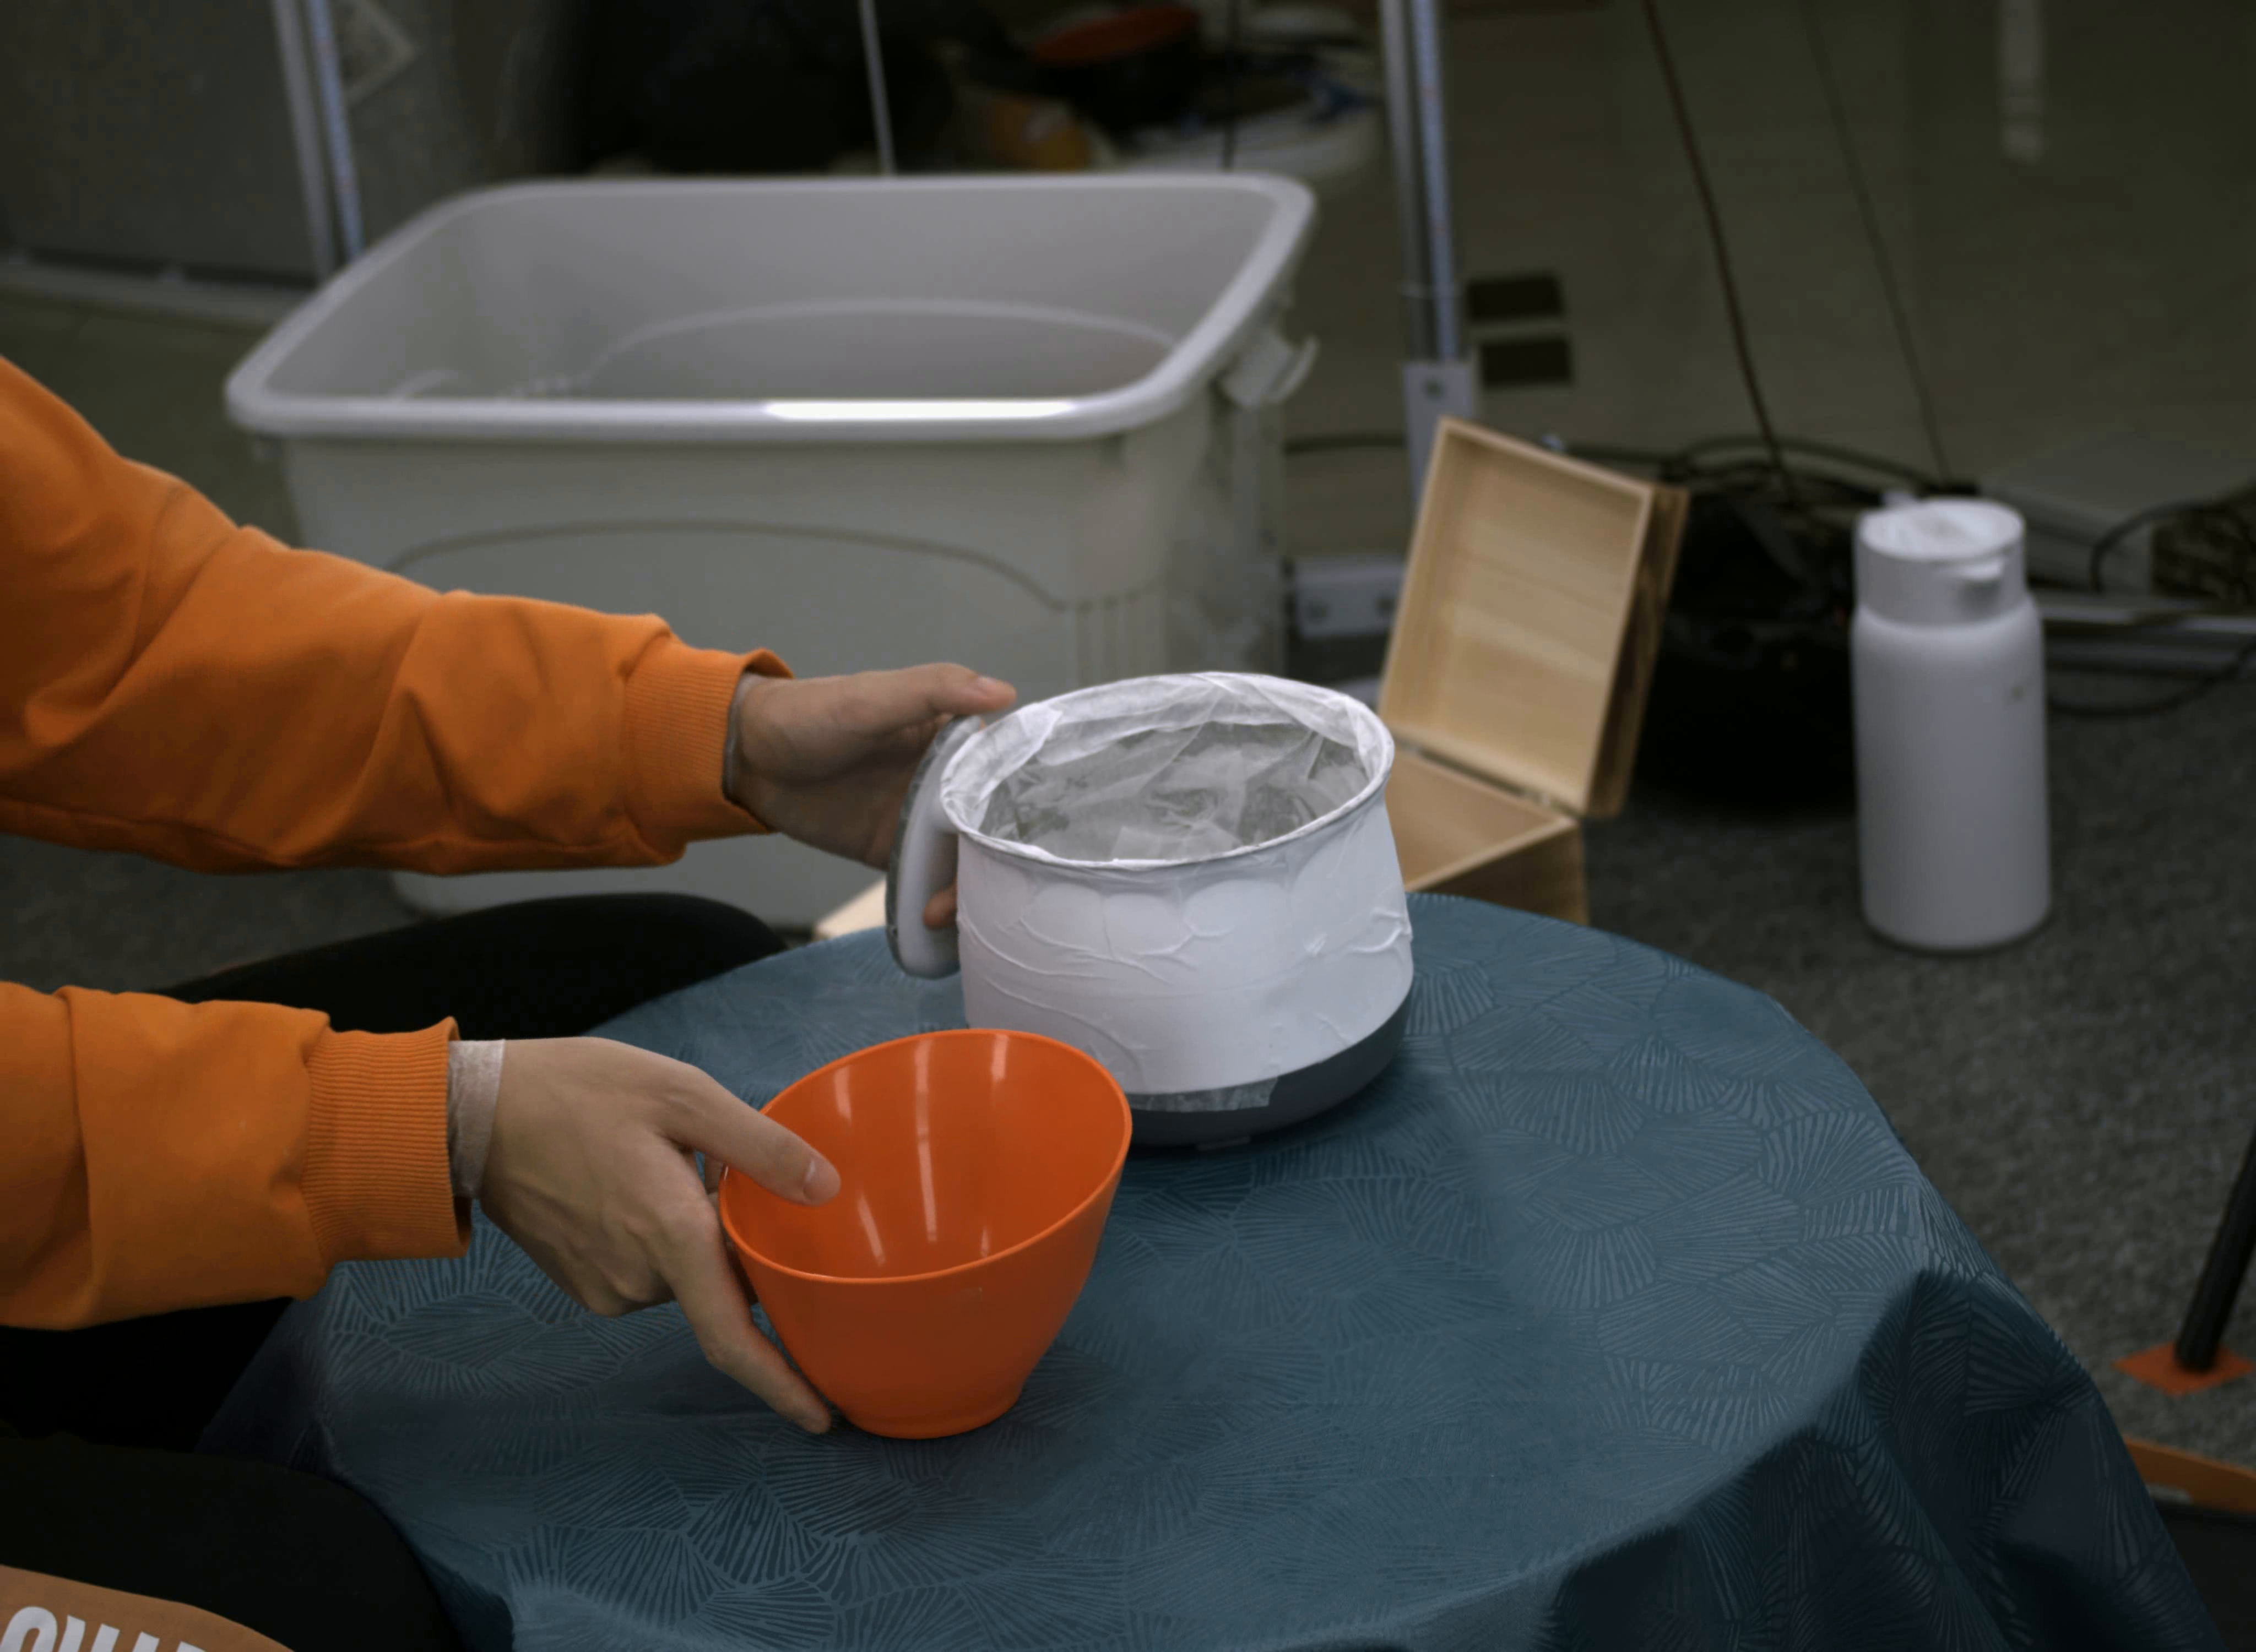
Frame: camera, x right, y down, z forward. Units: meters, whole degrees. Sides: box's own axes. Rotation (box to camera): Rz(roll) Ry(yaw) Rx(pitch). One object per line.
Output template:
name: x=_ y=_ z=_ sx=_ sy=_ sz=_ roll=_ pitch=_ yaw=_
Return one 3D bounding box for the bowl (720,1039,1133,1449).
bowl: x=-0.067 y=0.155 z=2.013 sx=0.148 sy=0.106 sz=0.146 roll=-5 pitch=26 yaw=2

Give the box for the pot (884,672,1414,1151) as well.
pot: x=-0.002 y=0.029 z=2.217 sx=0.232 sy=0.139 sz=0.177 roll=12 pitch=31 yaw=34
